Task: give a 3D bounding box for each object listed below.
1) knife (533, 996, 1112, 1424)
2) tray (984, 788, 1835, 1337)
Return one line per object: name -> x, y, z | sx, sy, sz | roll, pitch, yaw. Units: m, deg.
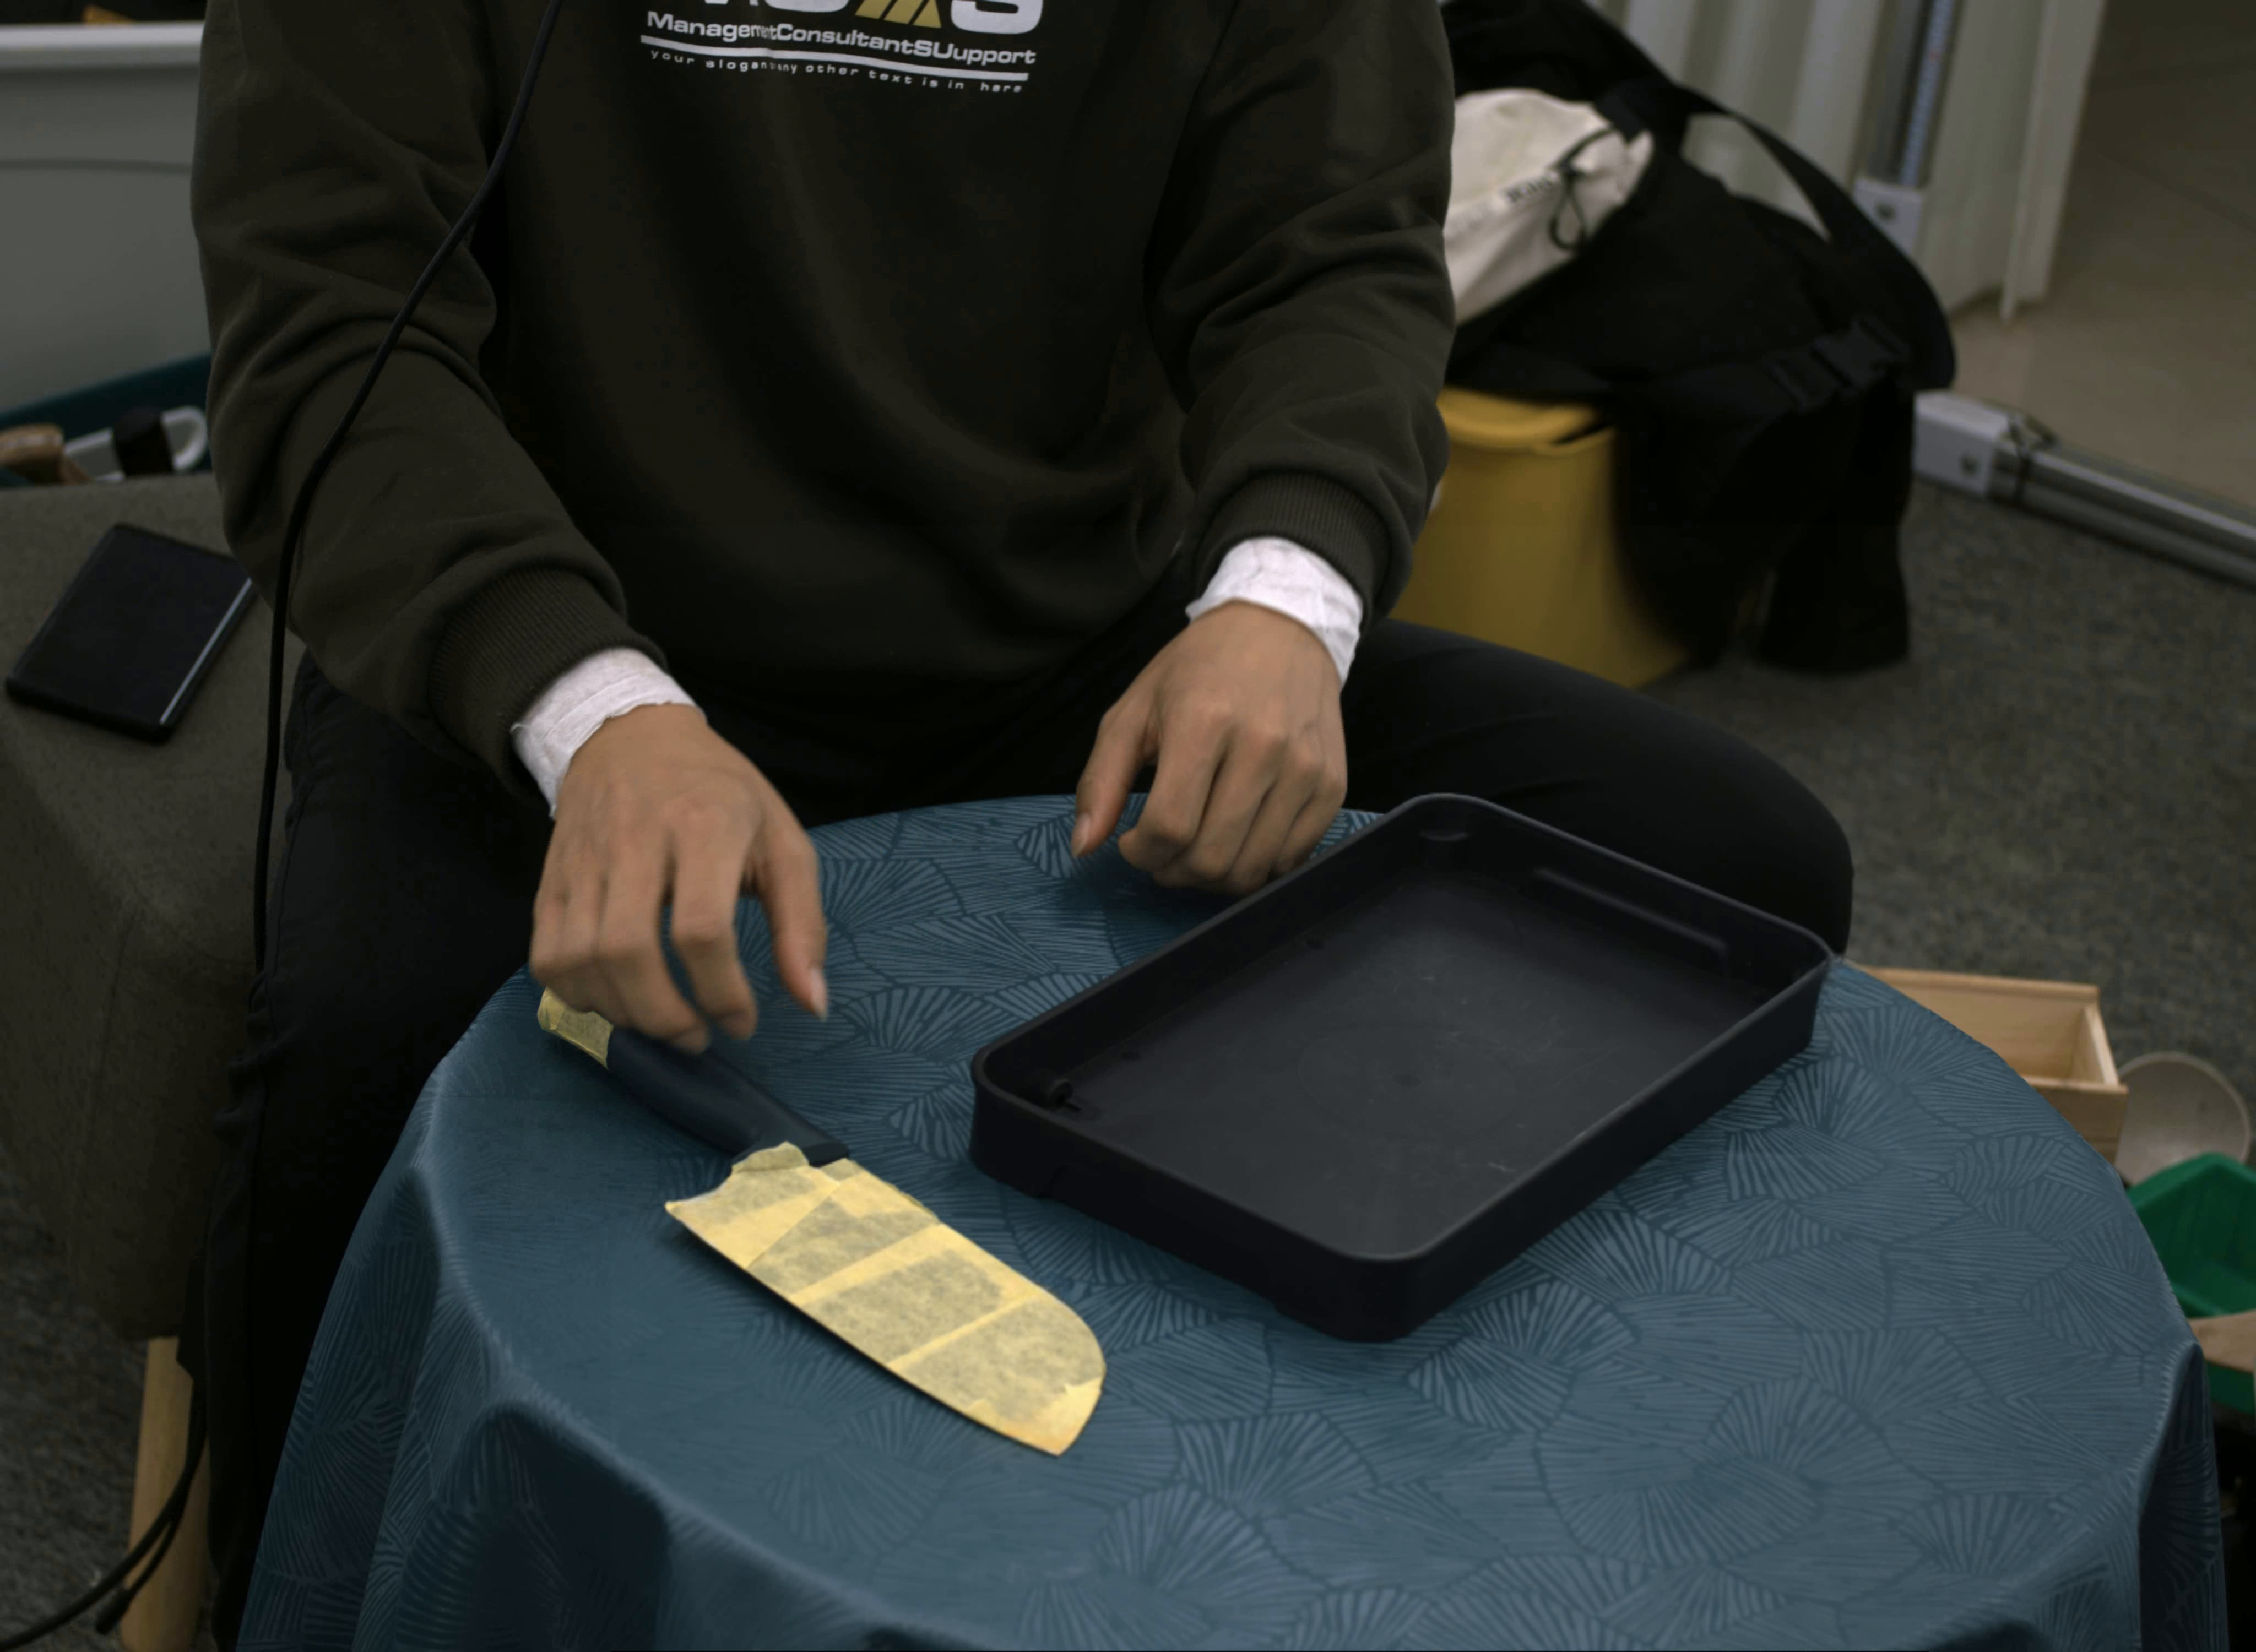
knife -> -0.111, 0.127, 1.757 | 0.080, 0.027, 0.292 | -17, 36, -41
tray -> 0.103, 0.077, 1.882 | 0.185, 0.037, 0.317 | 21, 30, 28
